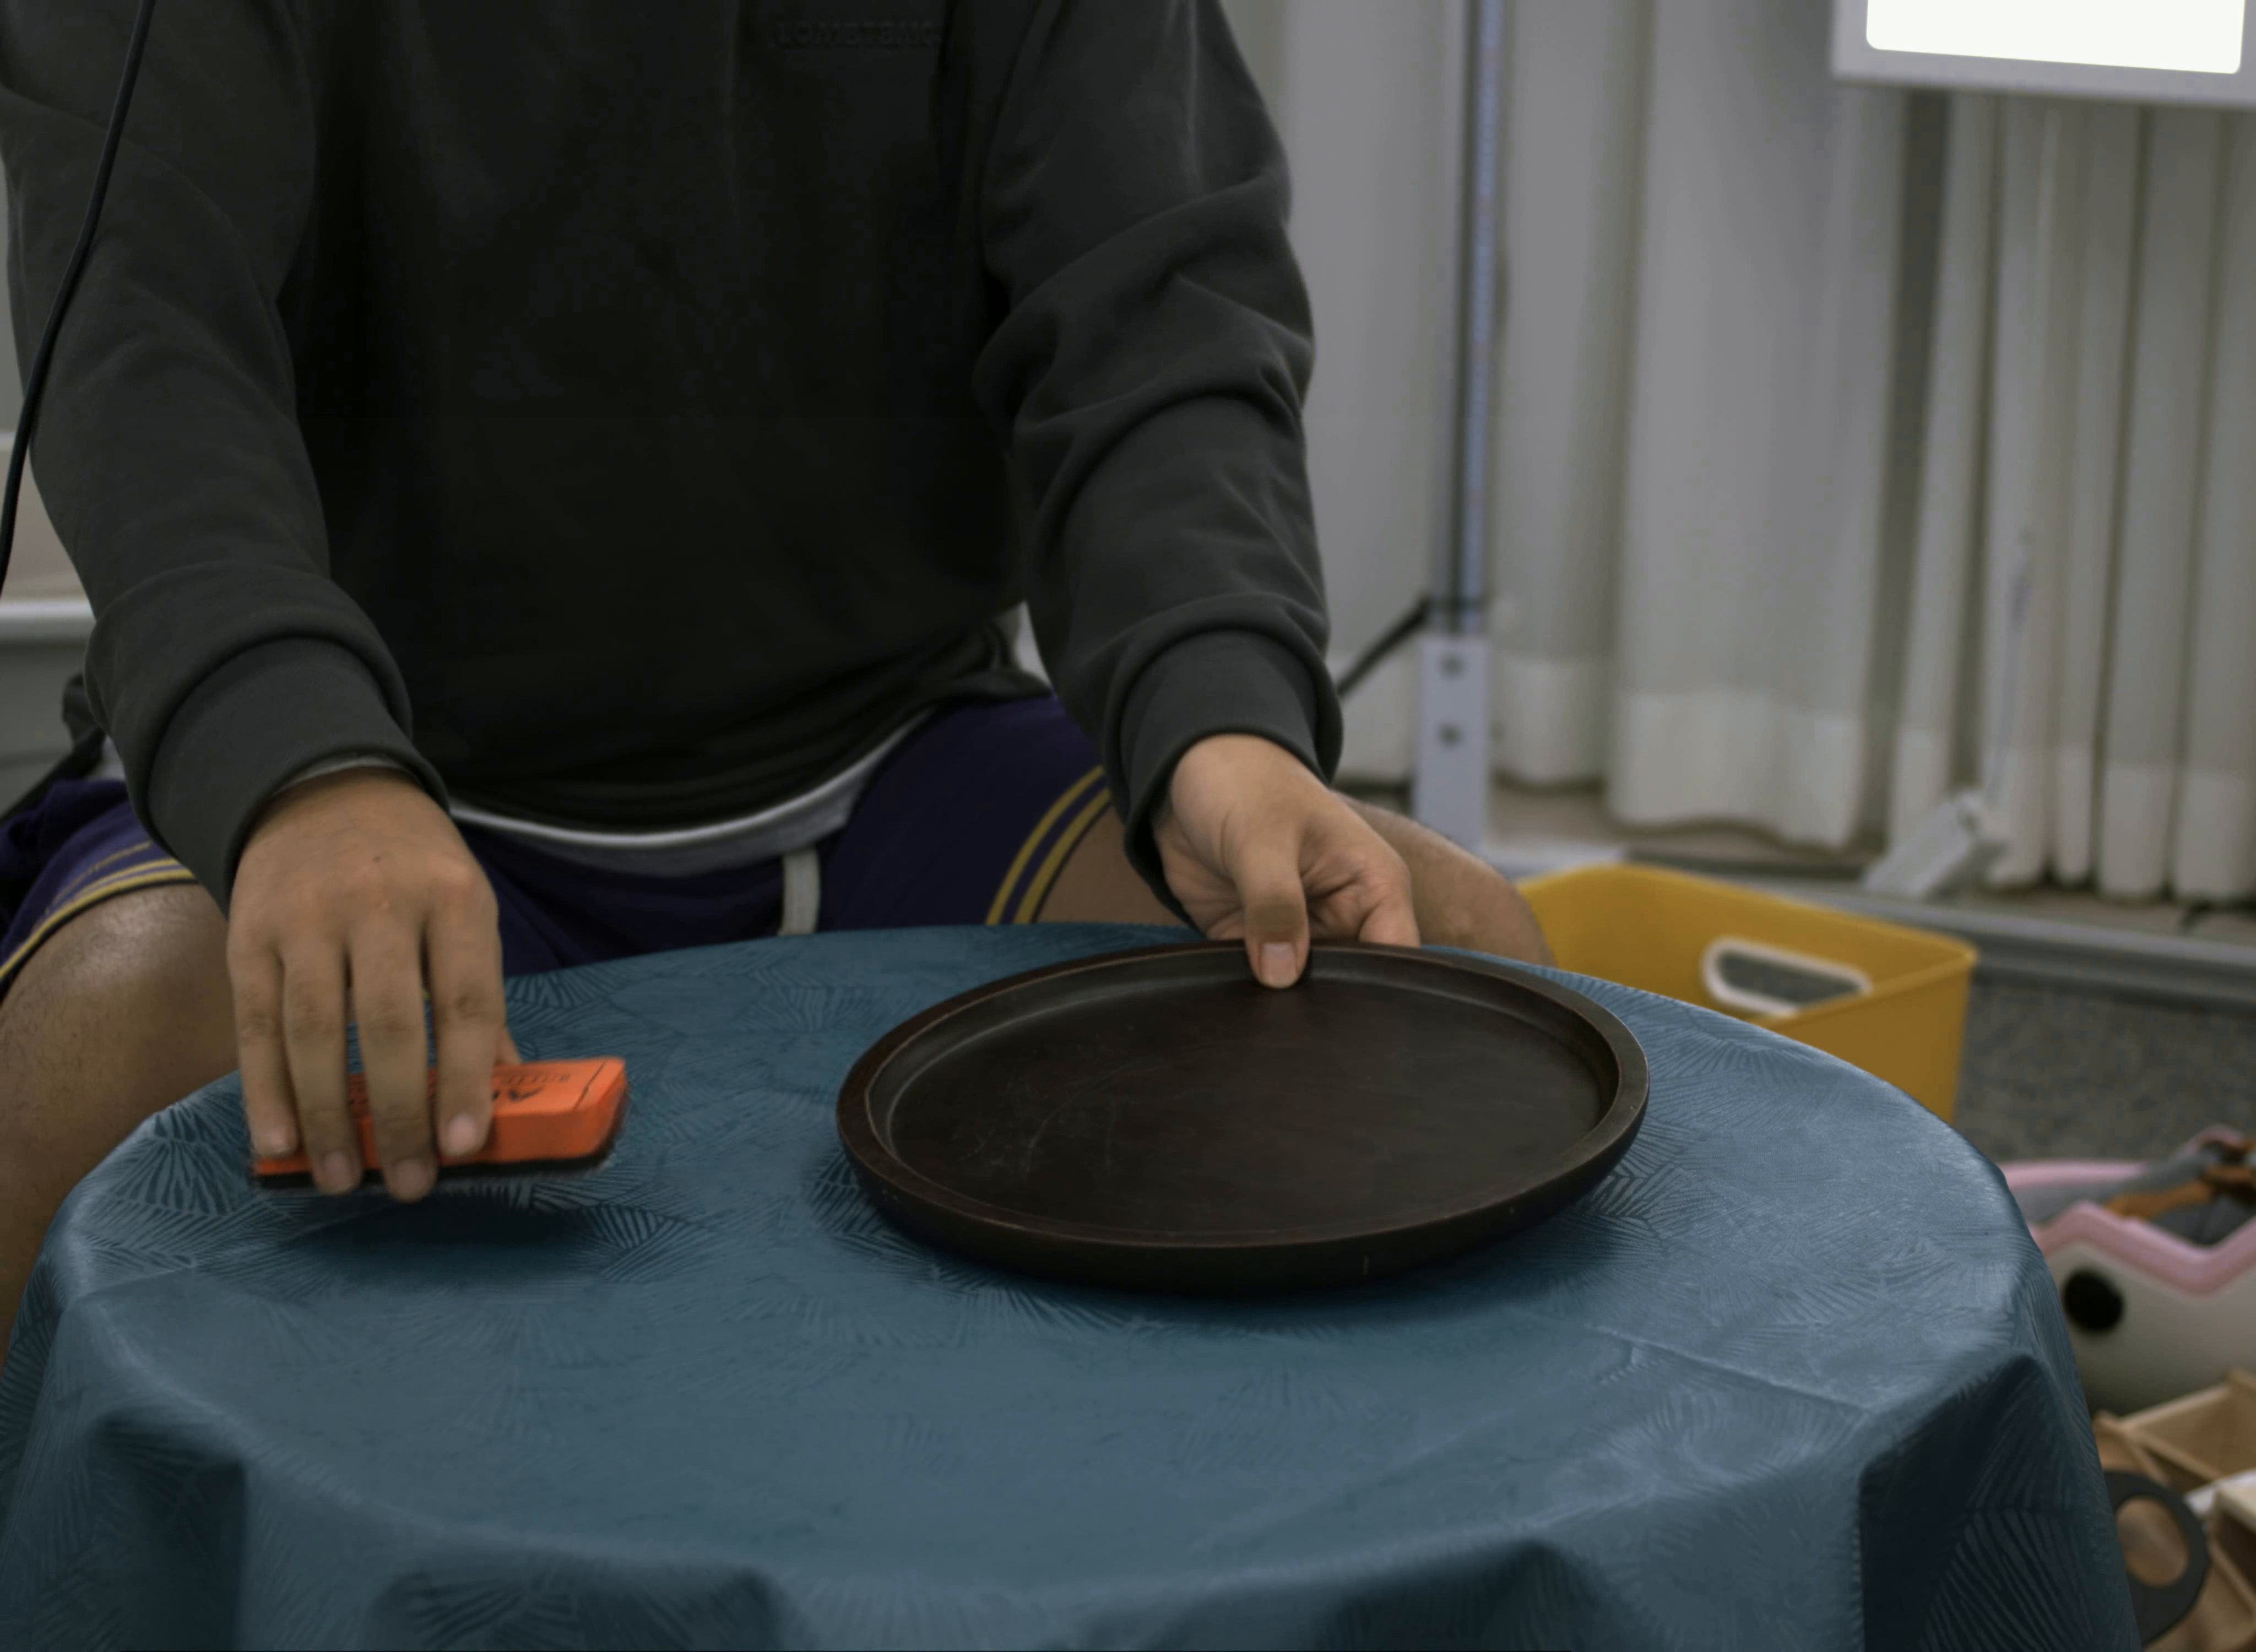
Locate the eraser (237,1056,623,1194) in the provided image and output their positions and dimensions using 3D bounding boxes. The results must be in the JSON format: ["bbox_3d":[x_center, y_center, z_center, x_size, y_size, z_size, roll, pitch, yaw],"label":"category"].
[{"bbox_3d":[-0.210,0.090,1.585,0.107,0.023,0.059,-4,12,8],"label":"eraser"}]

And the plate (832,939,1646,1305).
[{"bbox_3d":[0.035,0.089,1.634,0.254,0.029,0.253,-3,20,2],"label":"plate"}]
